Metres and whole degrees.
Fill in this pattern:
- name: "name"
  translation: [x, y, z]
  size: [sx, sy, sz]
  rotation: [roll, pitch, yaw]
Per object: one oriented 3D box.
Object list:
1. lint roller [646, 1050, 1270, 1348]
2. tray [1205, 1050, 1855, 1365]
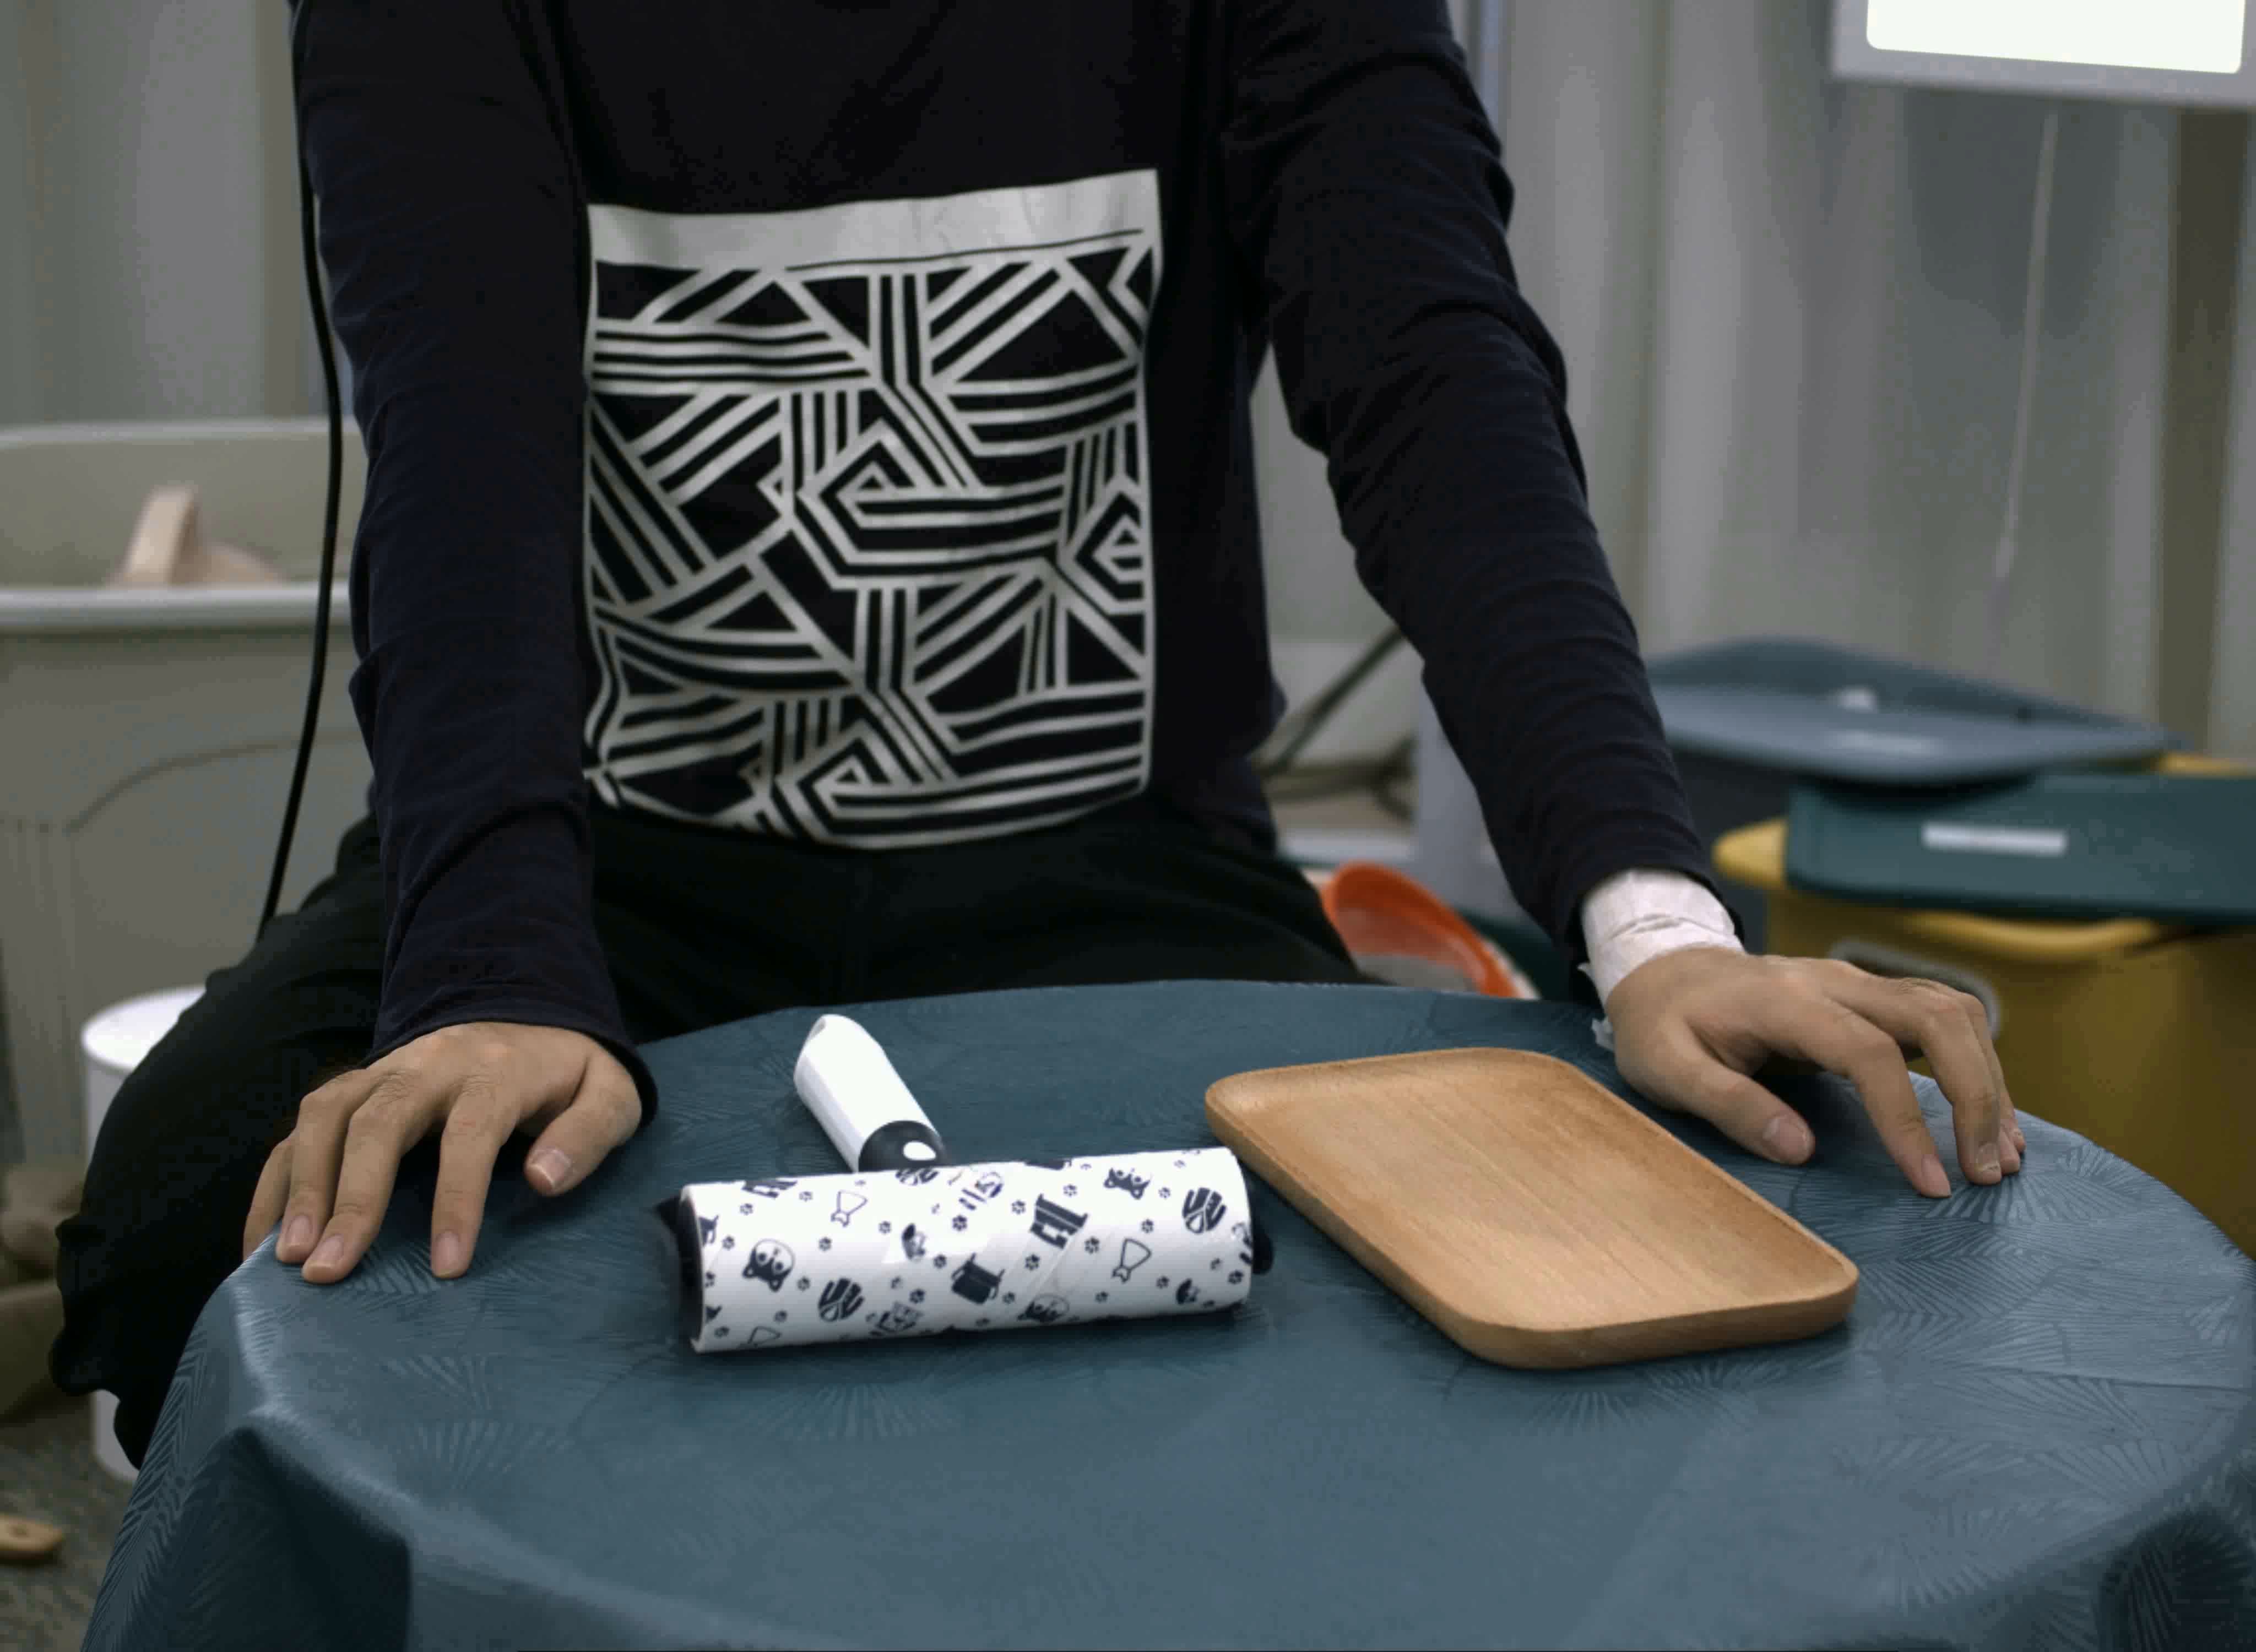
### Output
- name: "lint roller"
  translation: [-0.072, 0.099, 1.598]
  size: [0.176, 0.051, 0.245]
  rotation: [-4, 13, -14]
- name: "tray"
  translation: [0.117, 0.113, 1.600]
  size: [0.131, 0.023, 0.248]
  rotation: [-2, 14, -19]
